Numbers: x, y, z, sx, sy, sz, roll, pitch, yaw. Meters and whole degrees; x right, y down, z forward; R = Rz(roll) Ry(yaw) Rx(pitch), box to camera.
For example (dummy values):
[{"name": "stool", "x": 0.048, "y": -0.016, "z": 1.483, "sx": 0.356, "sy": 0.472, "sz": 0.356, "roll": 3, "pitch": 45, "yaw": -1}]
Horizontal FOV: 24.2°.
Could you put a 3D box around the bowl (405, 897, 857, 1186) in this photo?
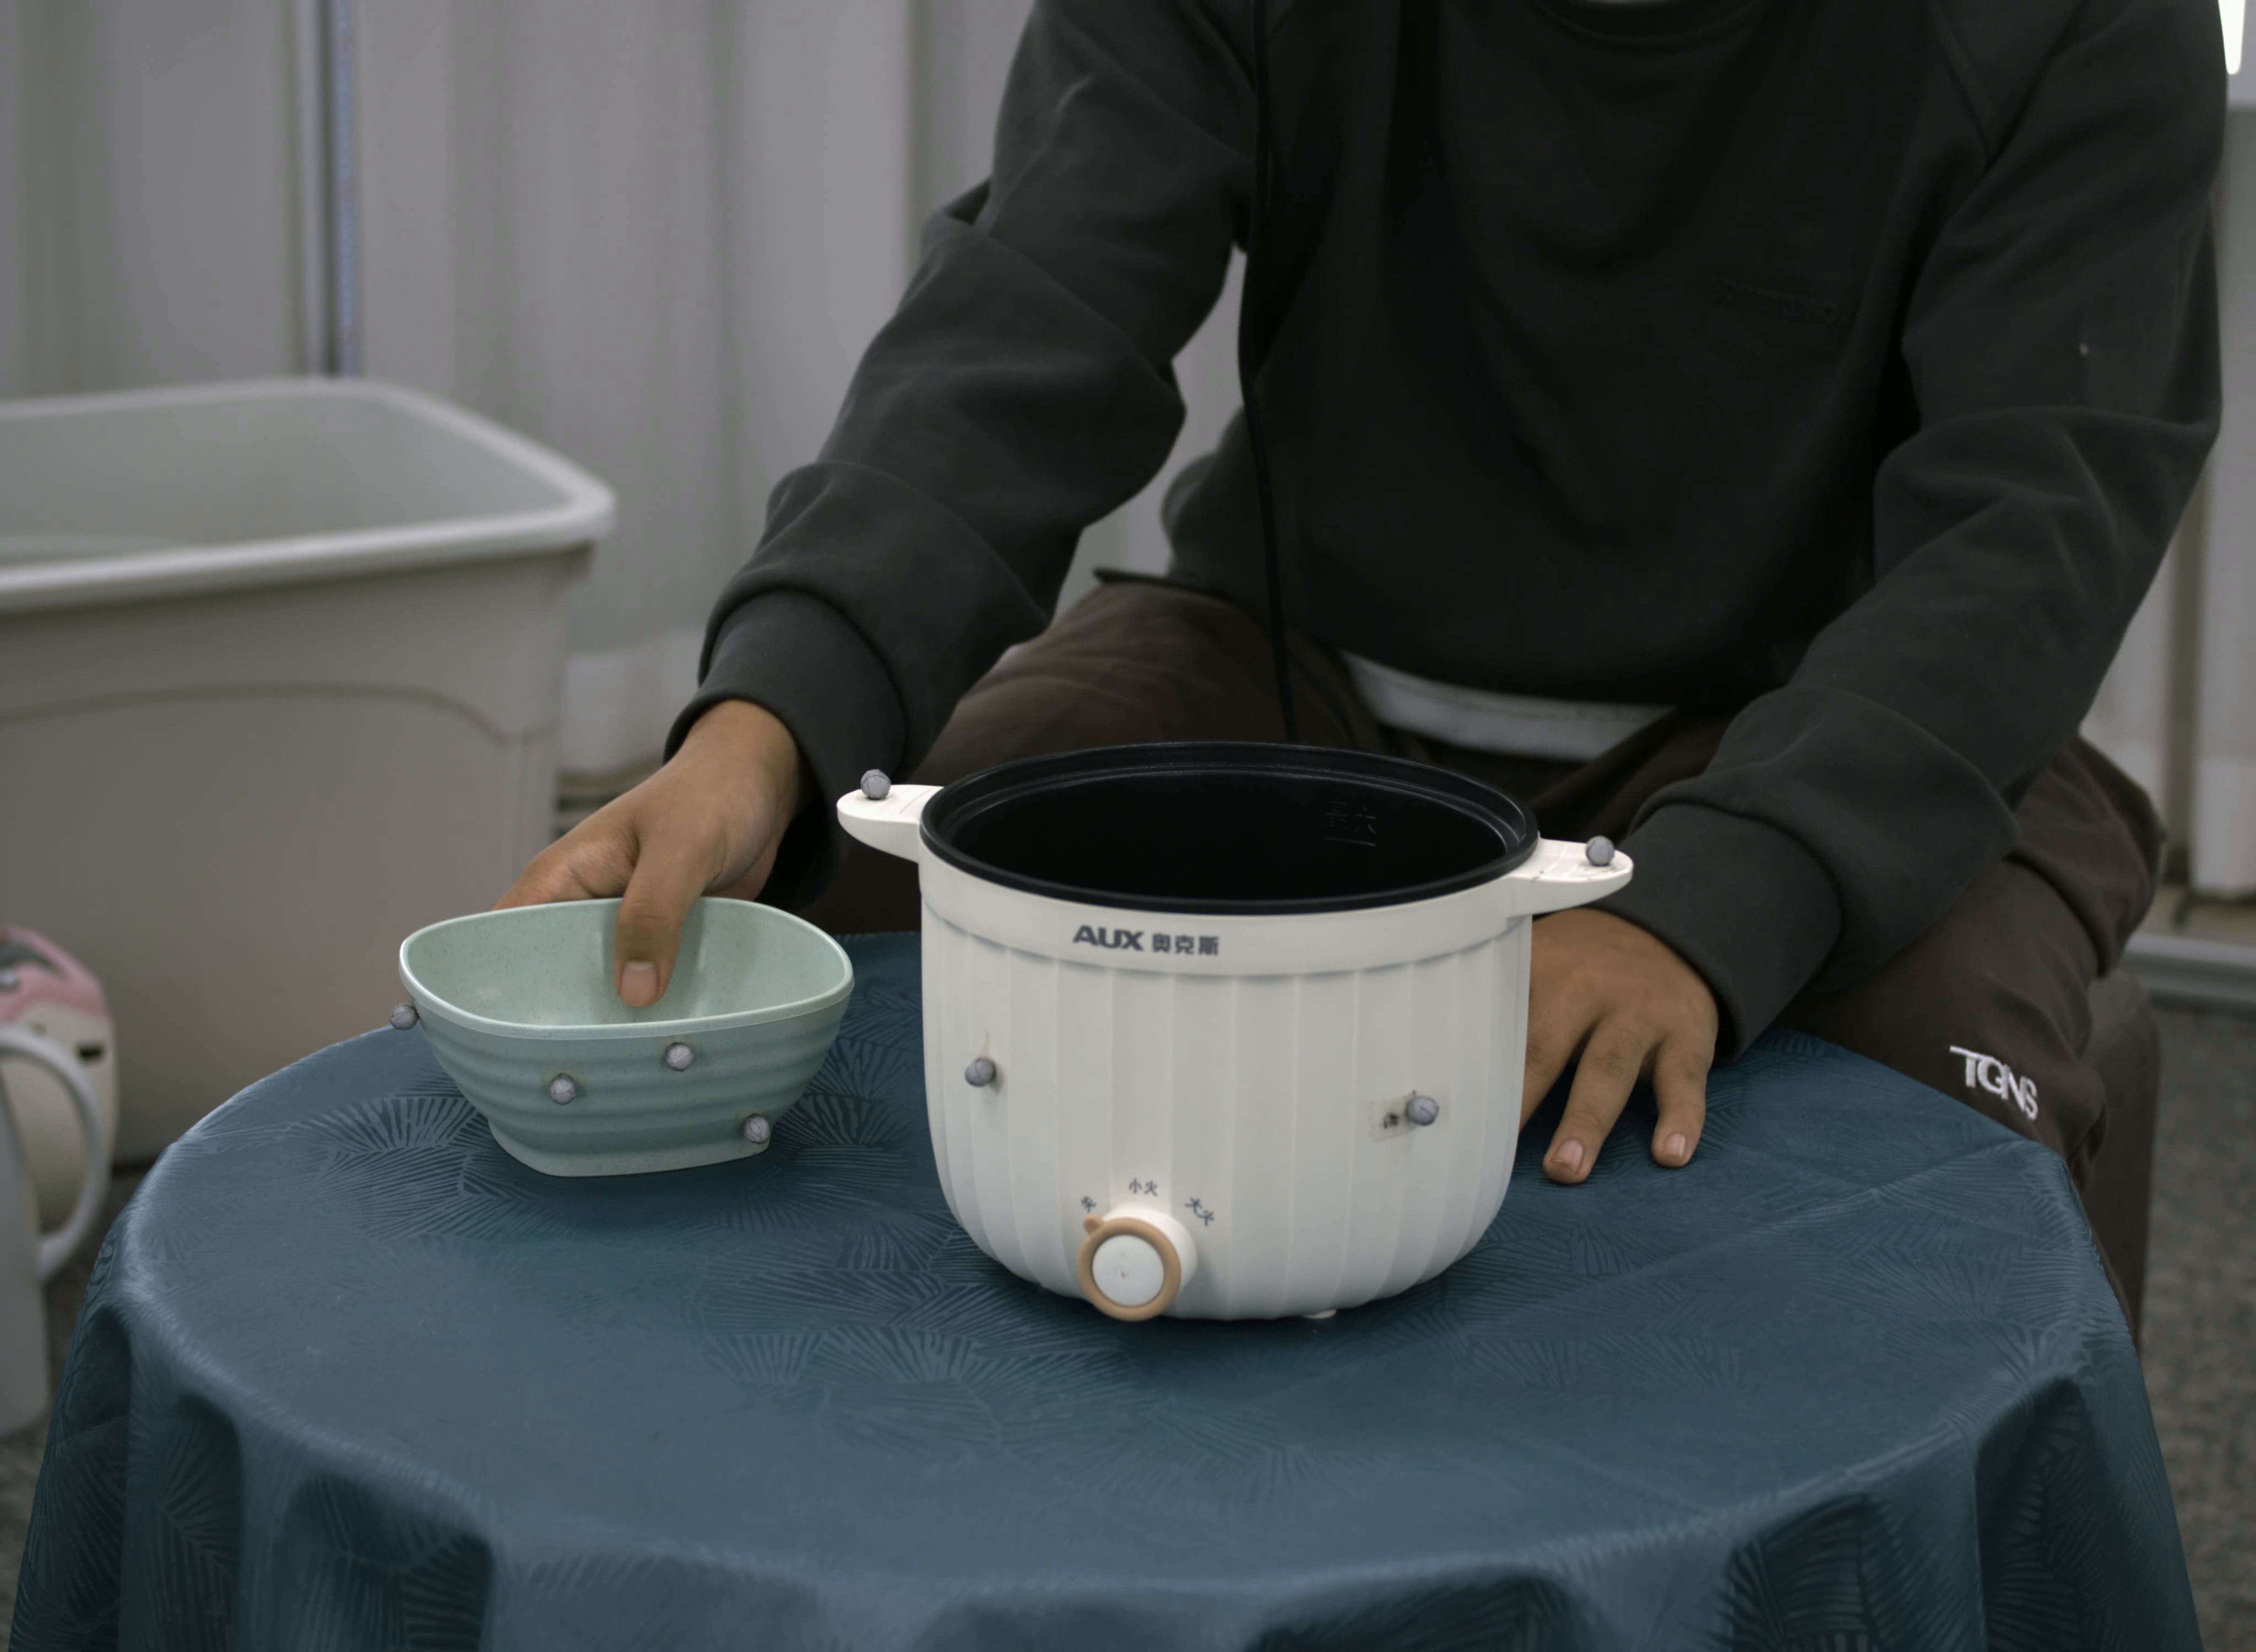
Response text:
[{"name": "bowl", "x": -0.157, "y": 0.071, "z": 1.667, "sx": 0.151, "sy": 0.059, "sz": 0.150, "roll": 1, "pitch": 17, "yaw": 0}]

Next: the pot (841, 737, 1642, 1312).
[{"name": "pot", "x": 0.031, "y": 0.061, "z": 1.549, "sx": 0.238, "sy": 0.143, "sz": 0.190, "roll": 3, "pitch": 13, "yaw": 14}]
